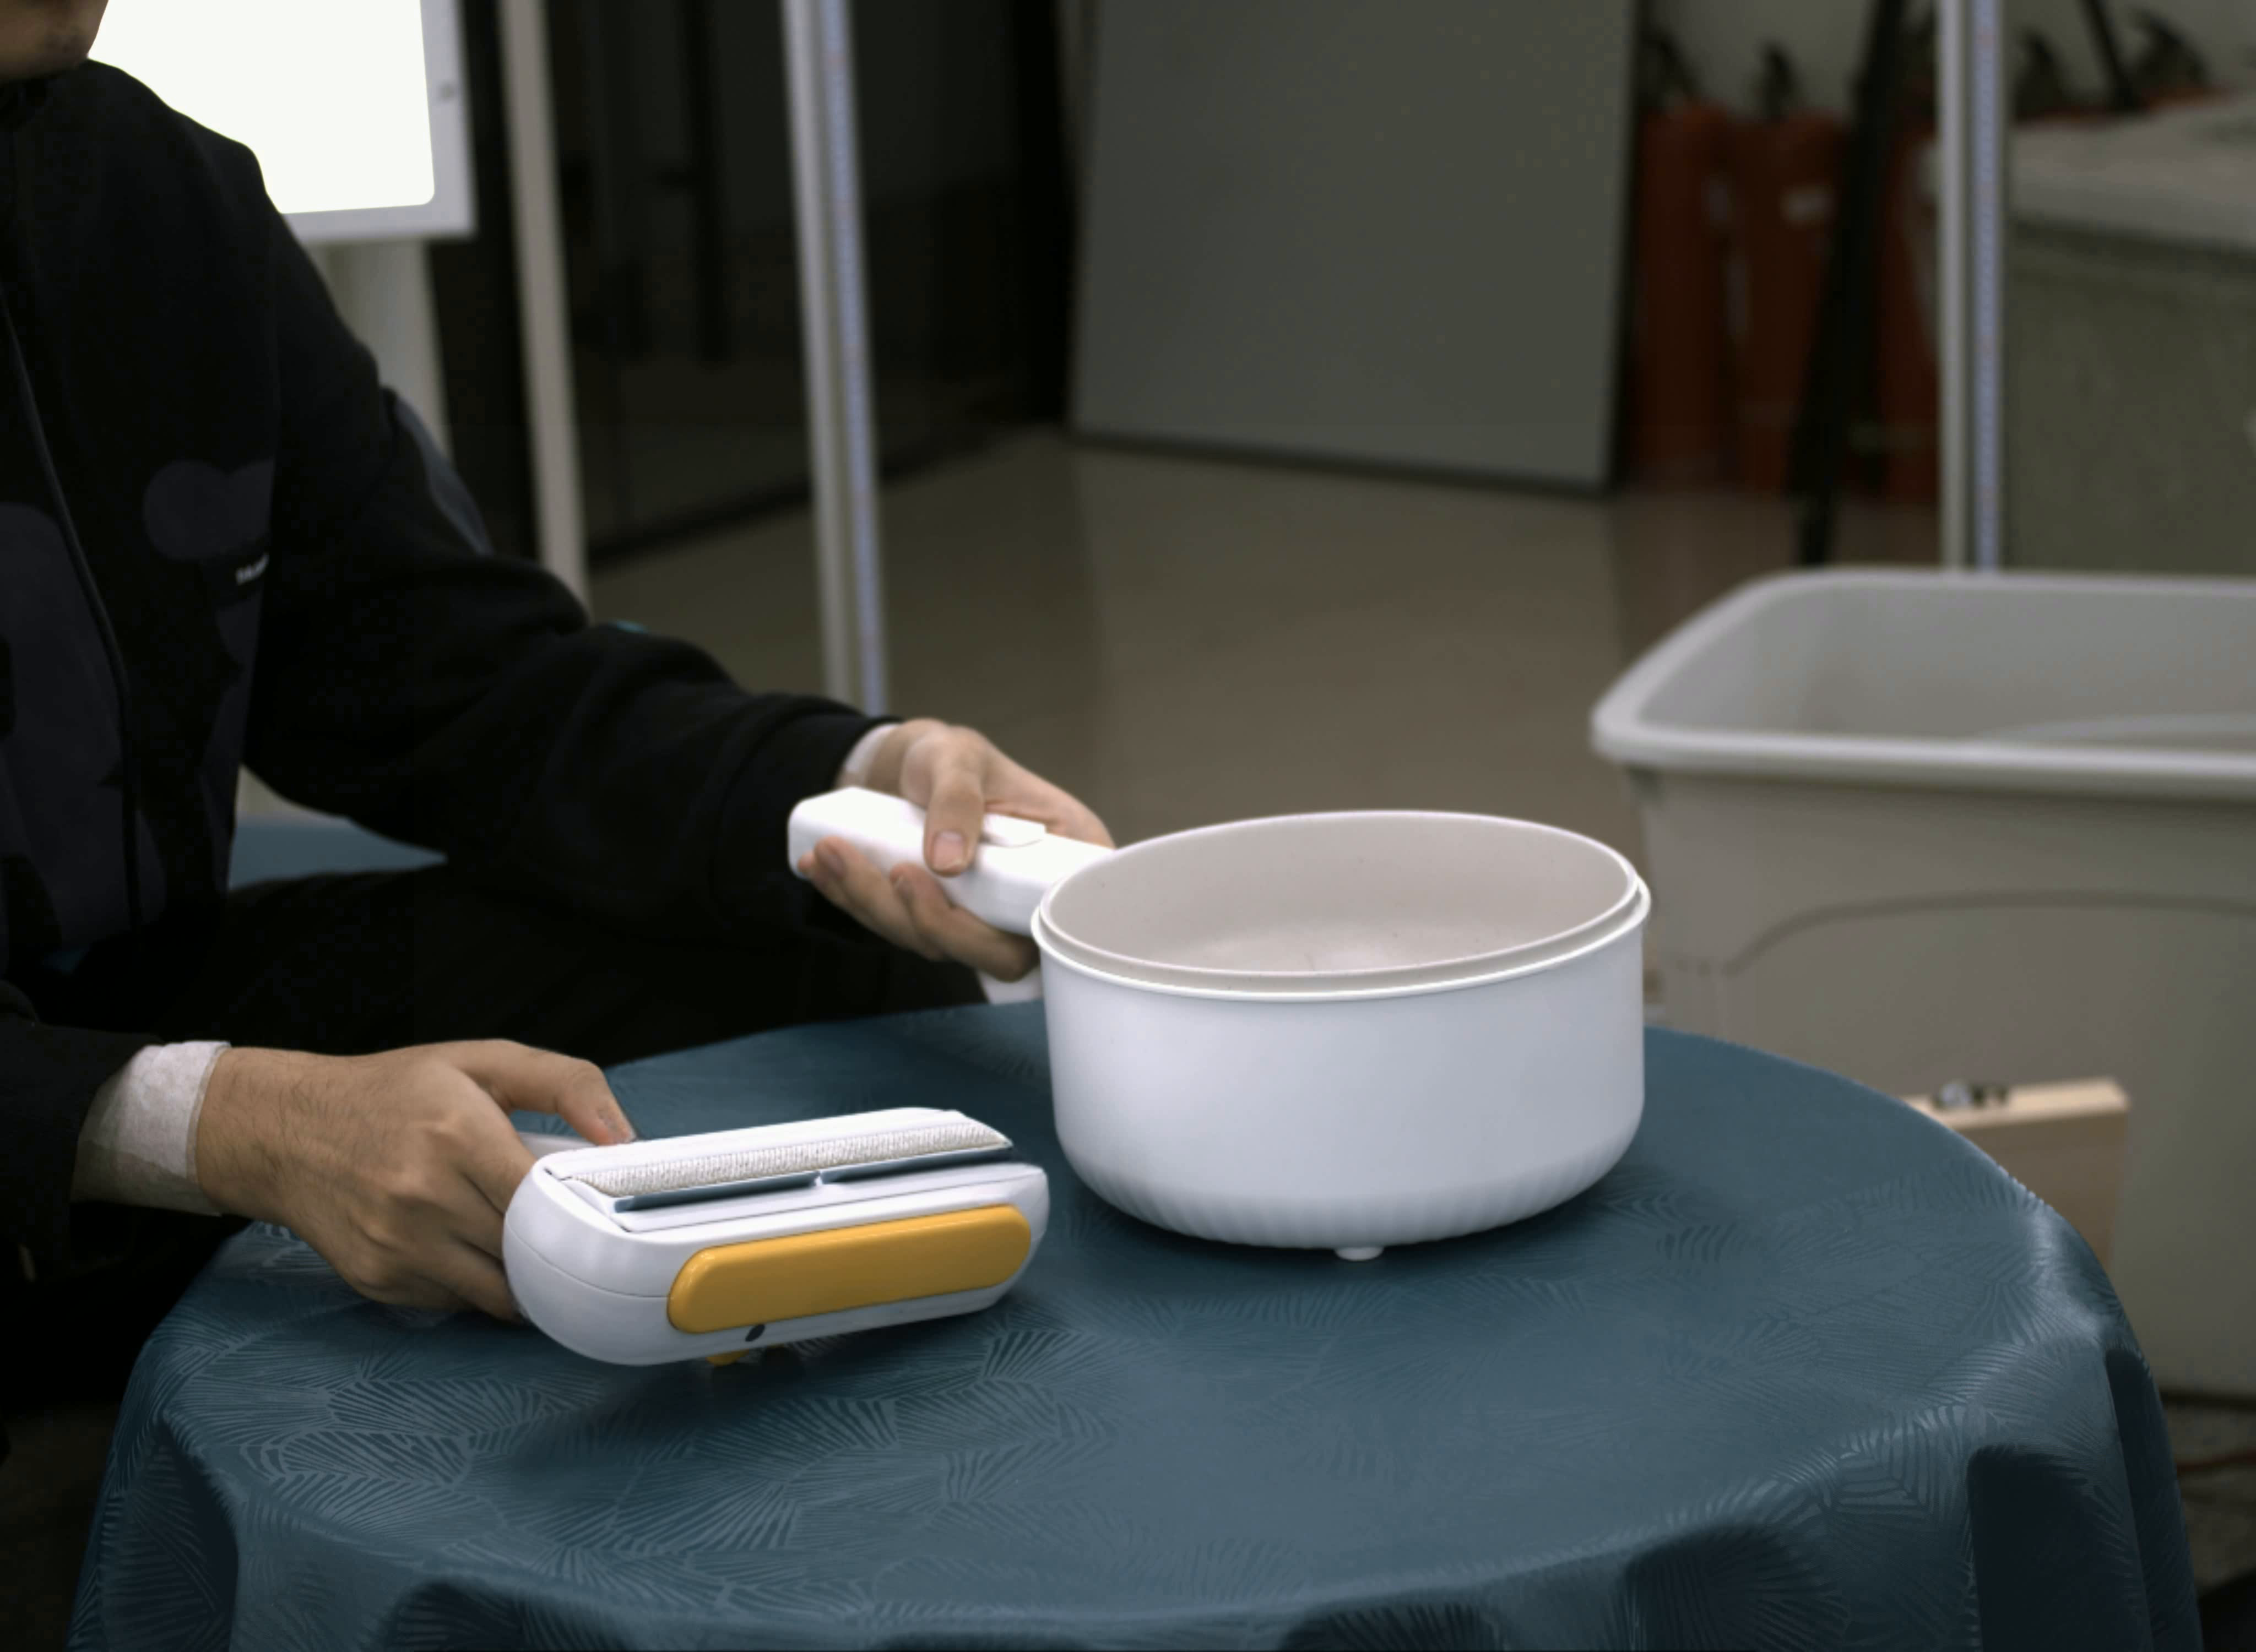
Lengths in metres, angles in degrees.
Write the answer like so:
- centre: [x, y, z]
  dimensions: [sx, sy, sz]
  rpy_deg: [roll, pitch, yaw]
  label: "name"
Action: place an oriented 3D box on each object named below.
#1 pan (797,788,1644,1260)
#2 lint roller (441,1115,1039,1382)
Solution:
- centre: [0.017, 0.058, 1.807]
  dimensions: [0.197, 0.103, 0.358]
  rpy_deg: [-17, 18, -41]
  label: "pan"
- centre: [-0.147, 0.114, 1.667]
  dimensions: [0.188, 0.075, 0.194]
  rpy_deg: [-8, 21, -39]
  label: "lint roller"
